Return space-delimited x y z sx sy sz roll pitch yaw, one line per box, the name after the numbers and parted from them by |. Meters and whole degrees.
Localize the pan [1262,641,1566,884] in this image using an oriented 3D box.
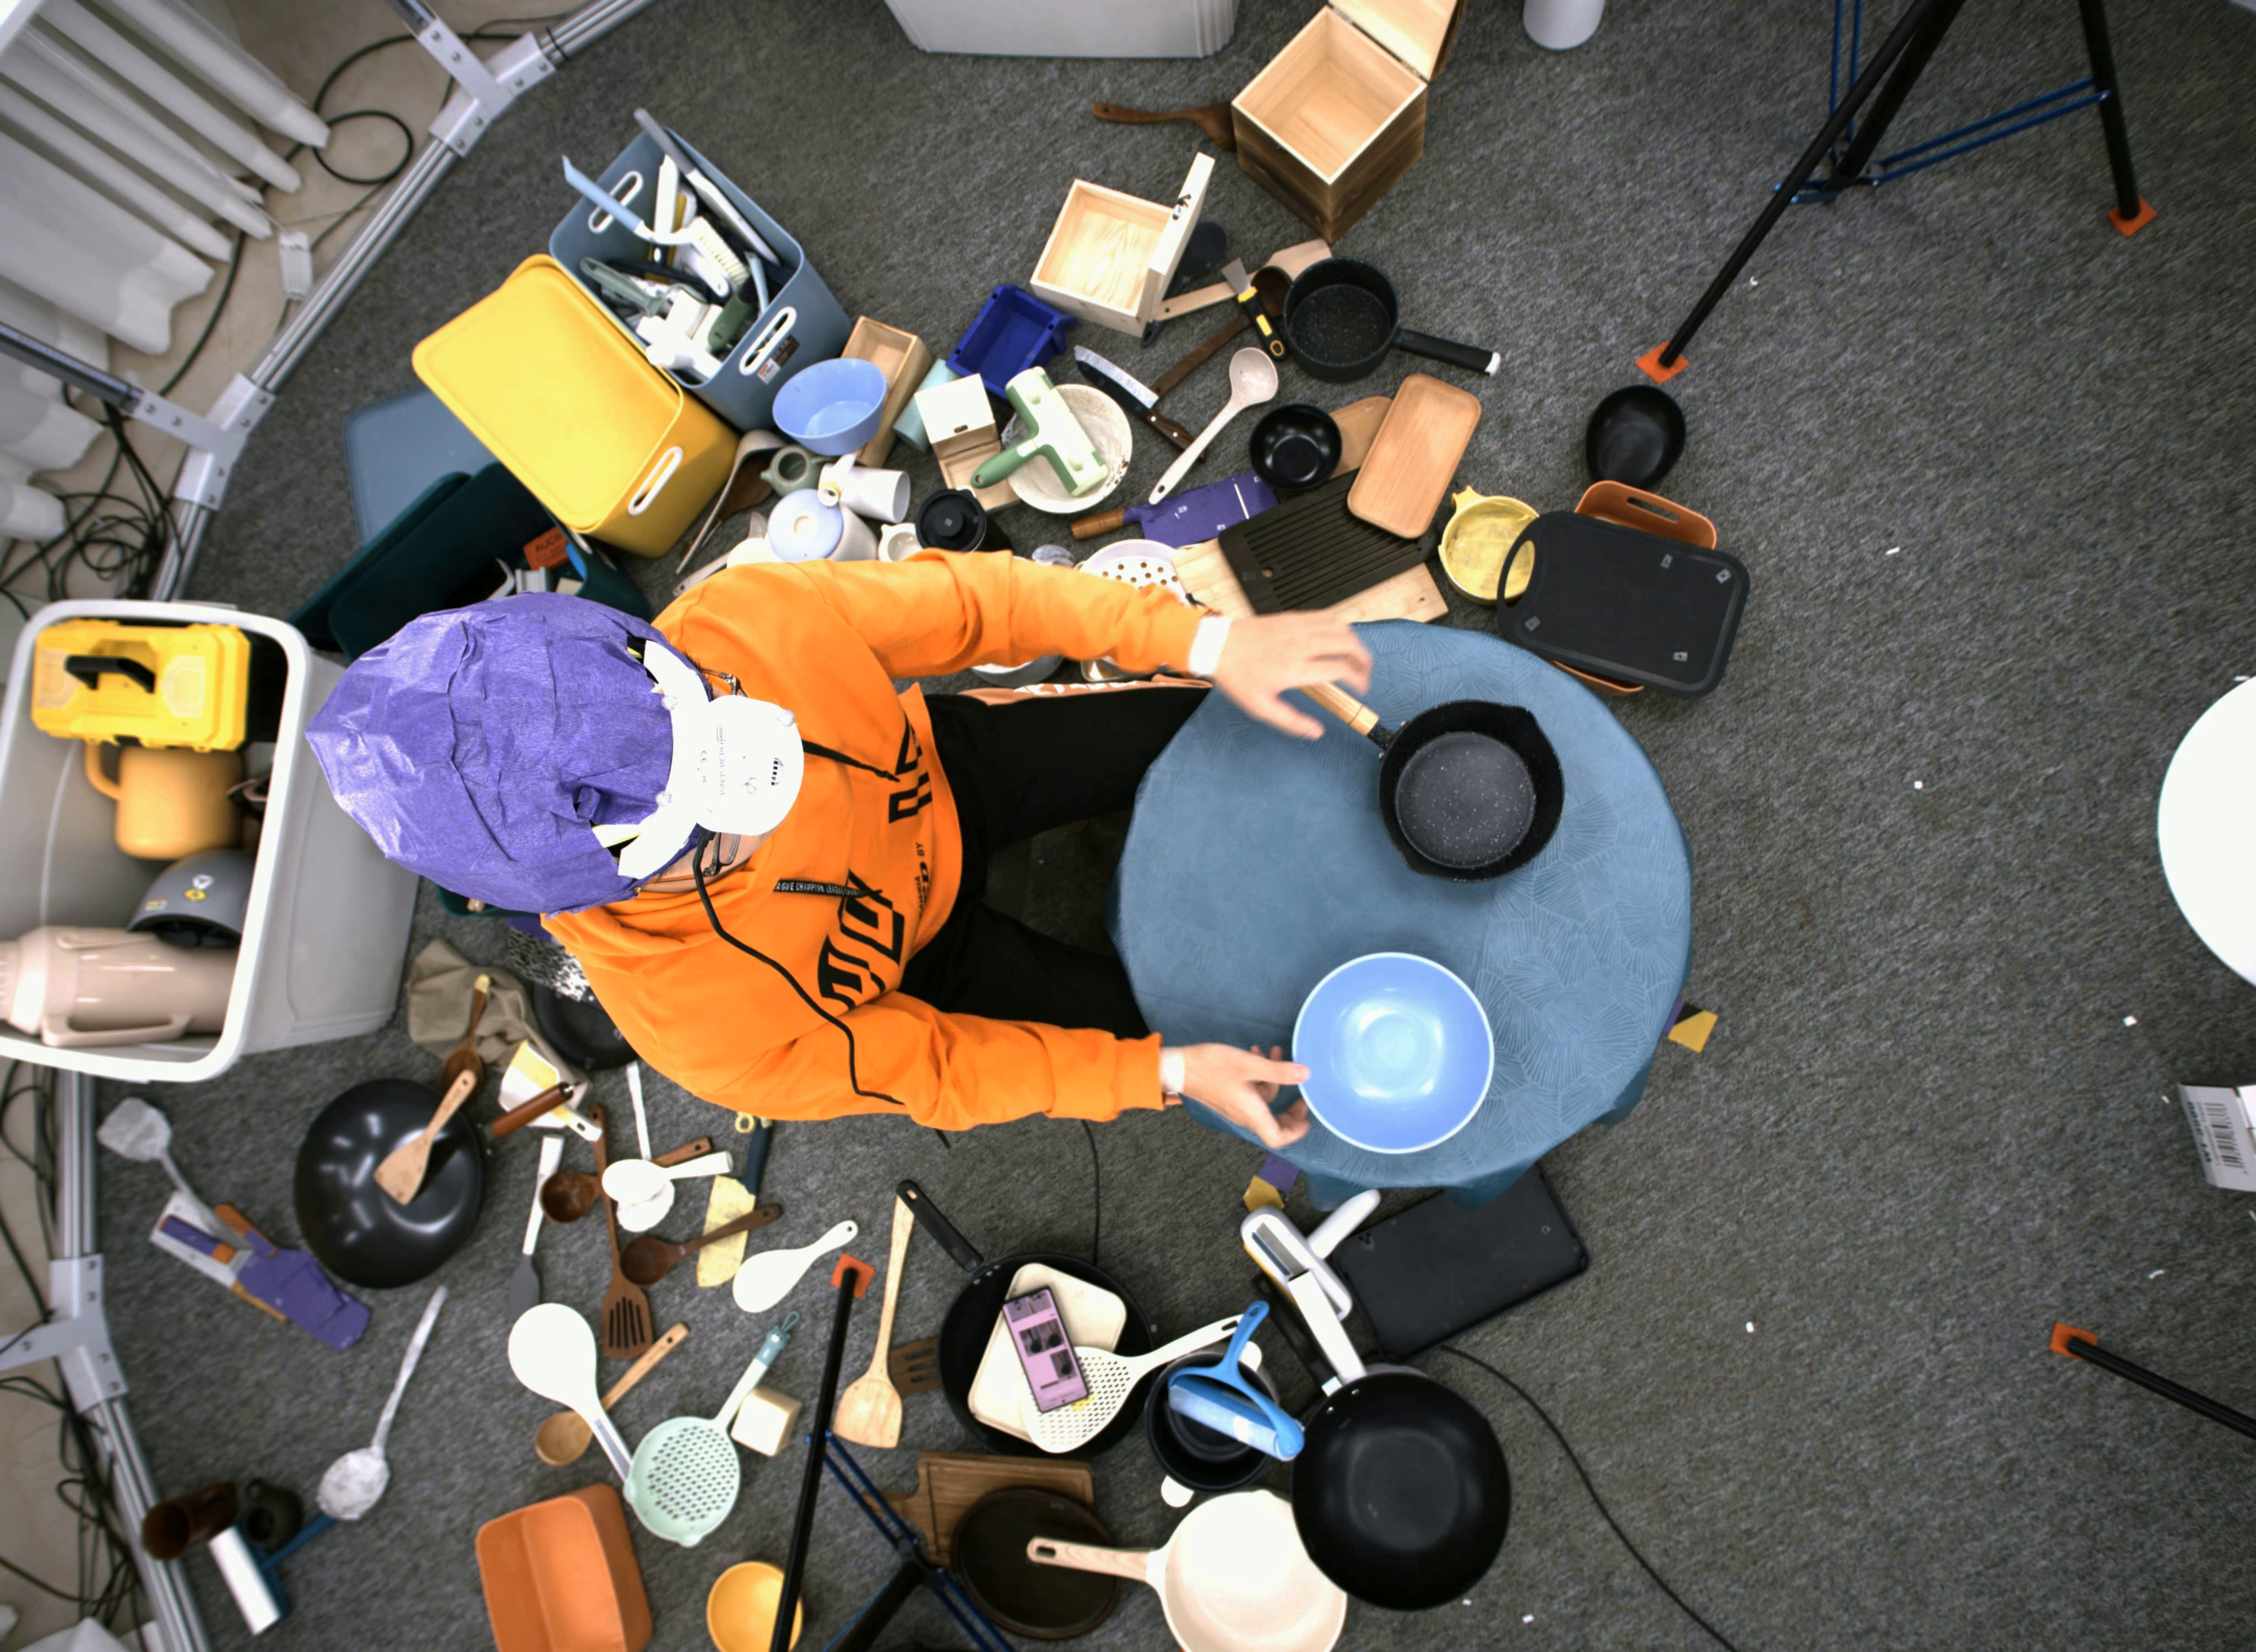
0.282 -0.078 1.411 0.342 0.108 0.208 34 94 9 | pan

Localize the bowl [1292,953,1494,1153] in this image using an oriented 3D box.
0.267 0.225 1.404 0.197 0.095 0.196 -1 87 10 | bowl
